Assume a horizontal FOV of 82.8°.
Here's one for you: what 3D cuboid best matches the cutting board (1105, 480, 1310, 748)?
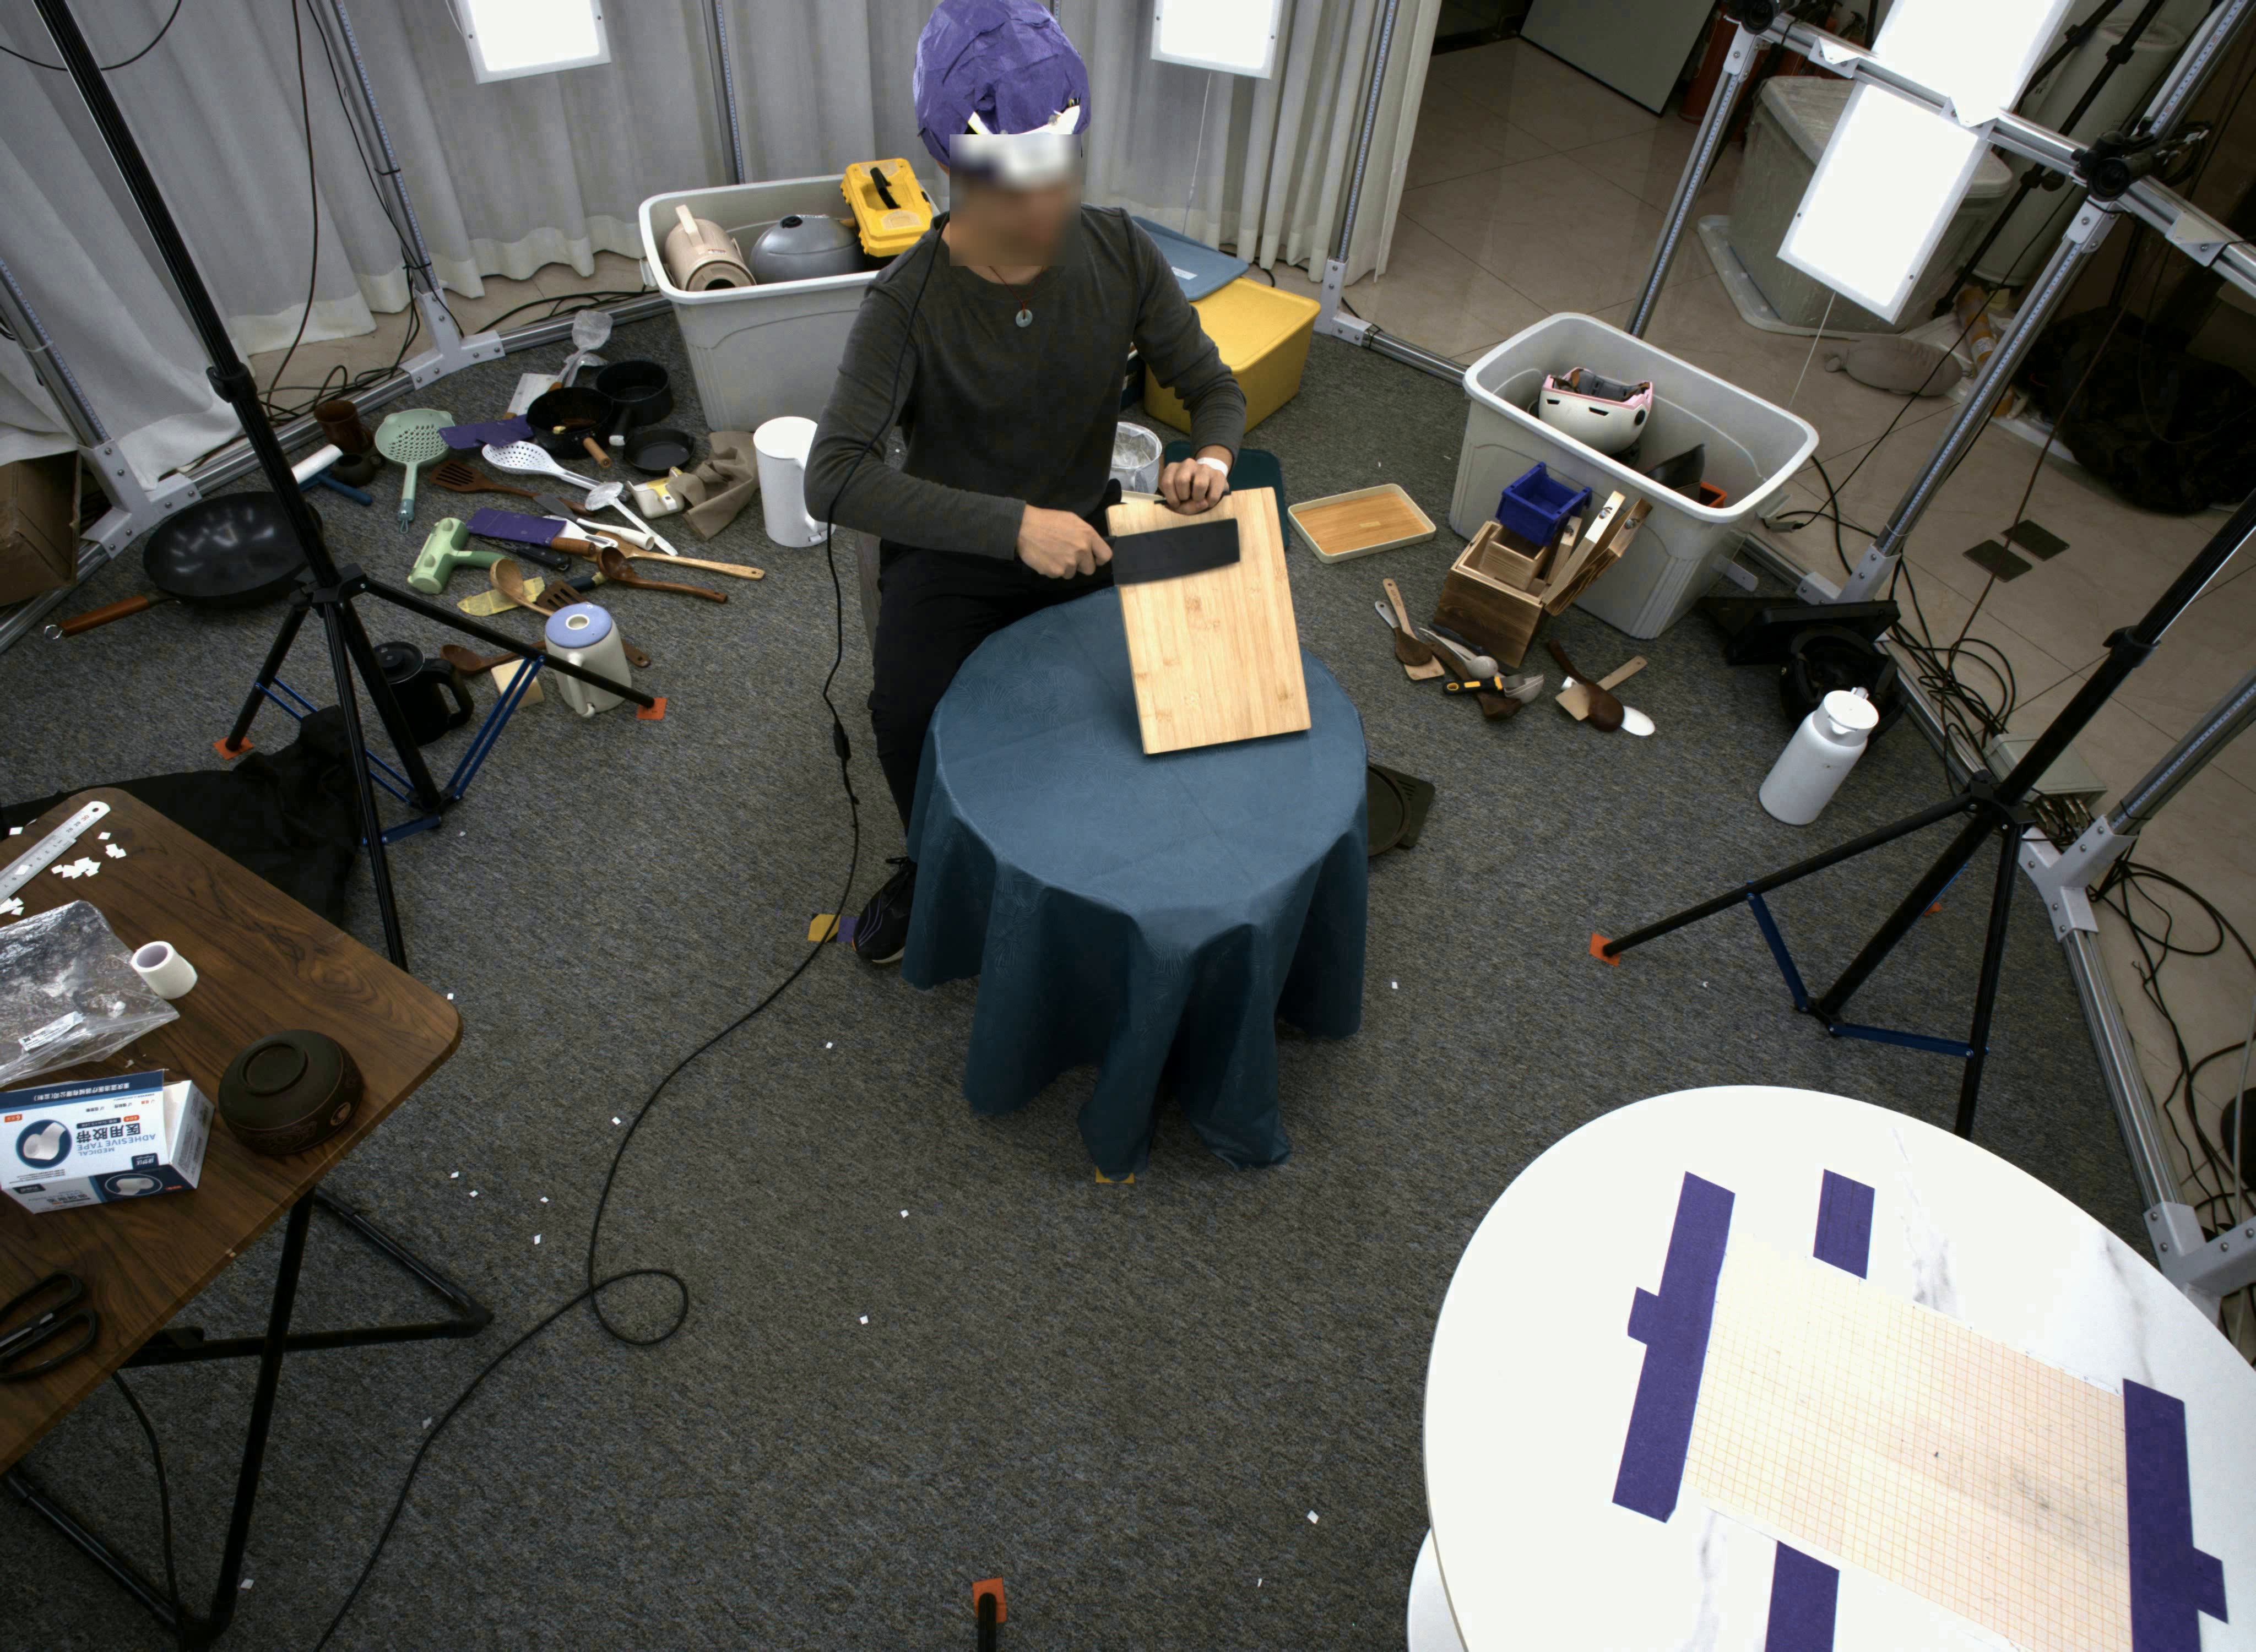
[{"bbox_3d":[0.111,-0.290,1.771,0.250,0.023,0.348,-10,90,-13],"label":"cutting board"}]

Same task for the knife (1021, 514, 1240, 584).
[{"bbox_3d":[0.007,-0.364,1.721,0.302,0.080,0.021,-8,19,-12],"label":"knife"}]
